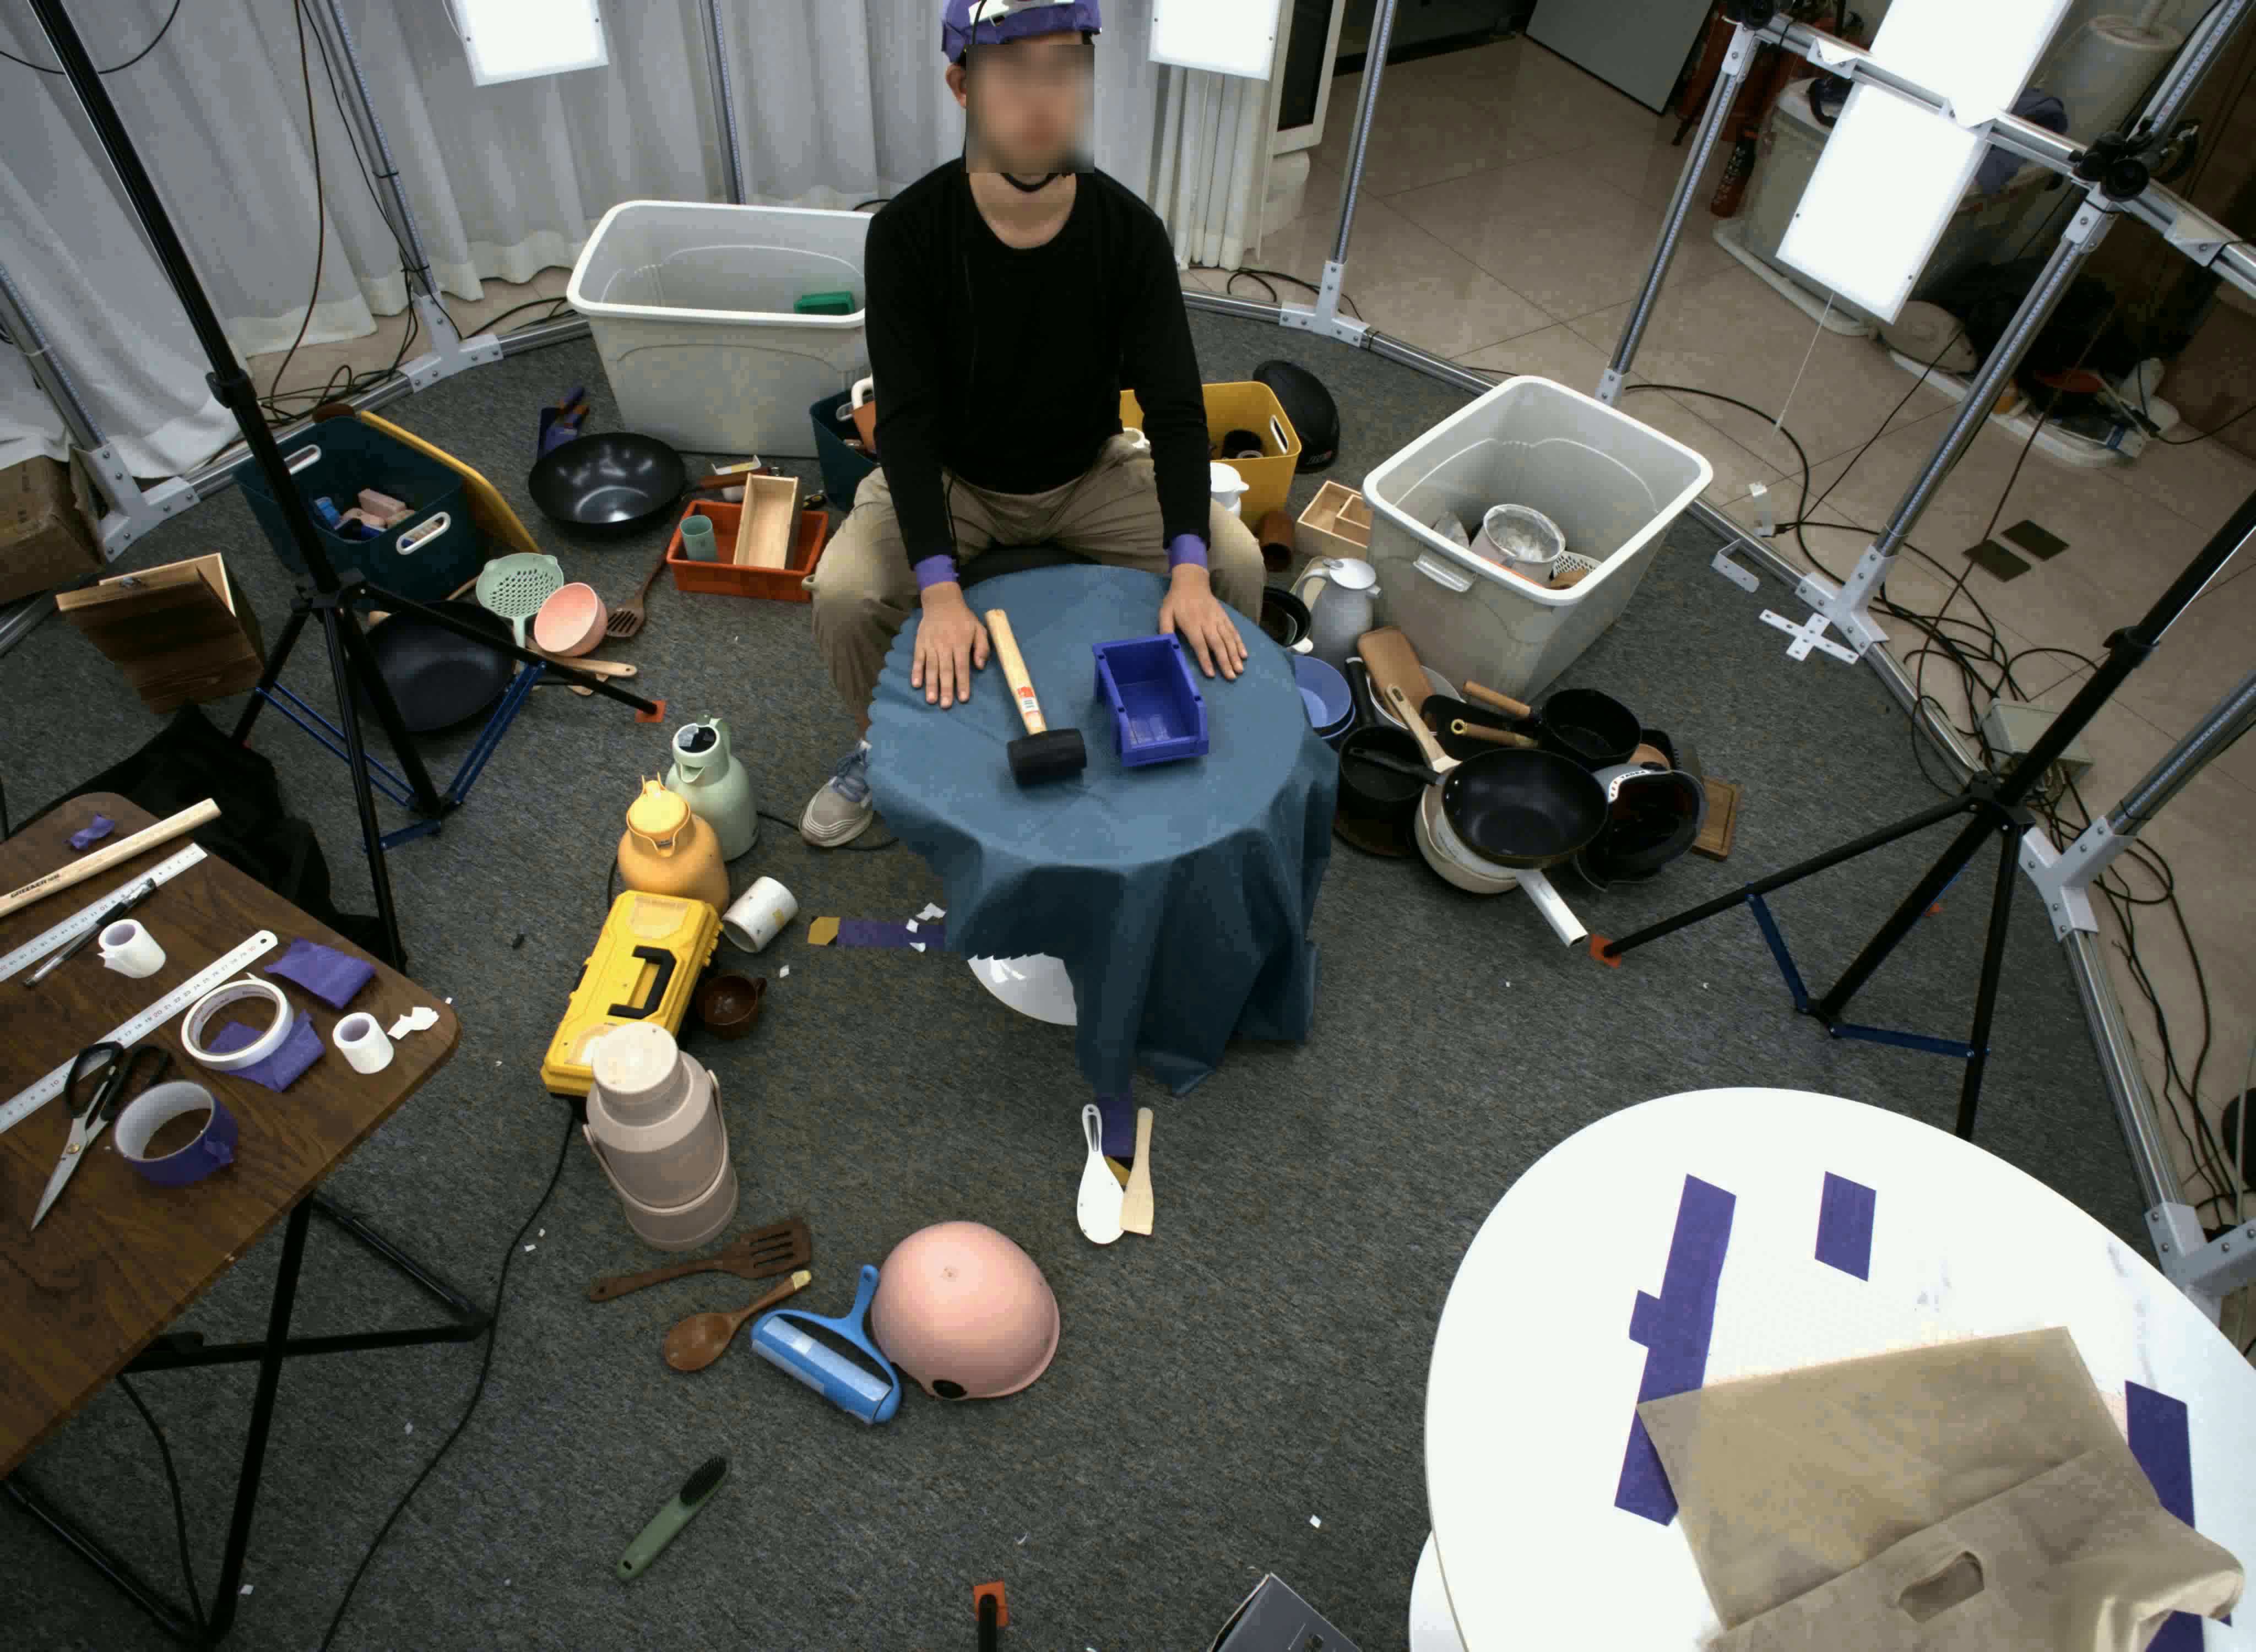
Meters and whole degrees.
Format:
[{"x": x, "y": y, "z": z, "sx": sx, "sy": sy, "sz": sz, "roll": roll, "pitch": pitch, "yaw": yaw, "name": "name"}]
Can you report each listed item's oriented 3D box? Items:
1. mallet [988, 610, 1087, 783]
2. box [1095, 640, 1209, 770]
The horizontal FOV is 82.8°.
[{"x": -0.147, "y": -0.196, "z": 1.791, "sx": 0.102, "sy": 0.063, "sz": 0.347, "roll": -10, "pitch": 50, "yaw": -12, "name": "mallet"}, {"x": 0.033, "y": -0.163, "z": 1.760, "sx": 0.124, "sy": 0.080, "sz": 0.184, "roll": -8, "pitch": 47, "yaw": -11, "name": "box"}]
